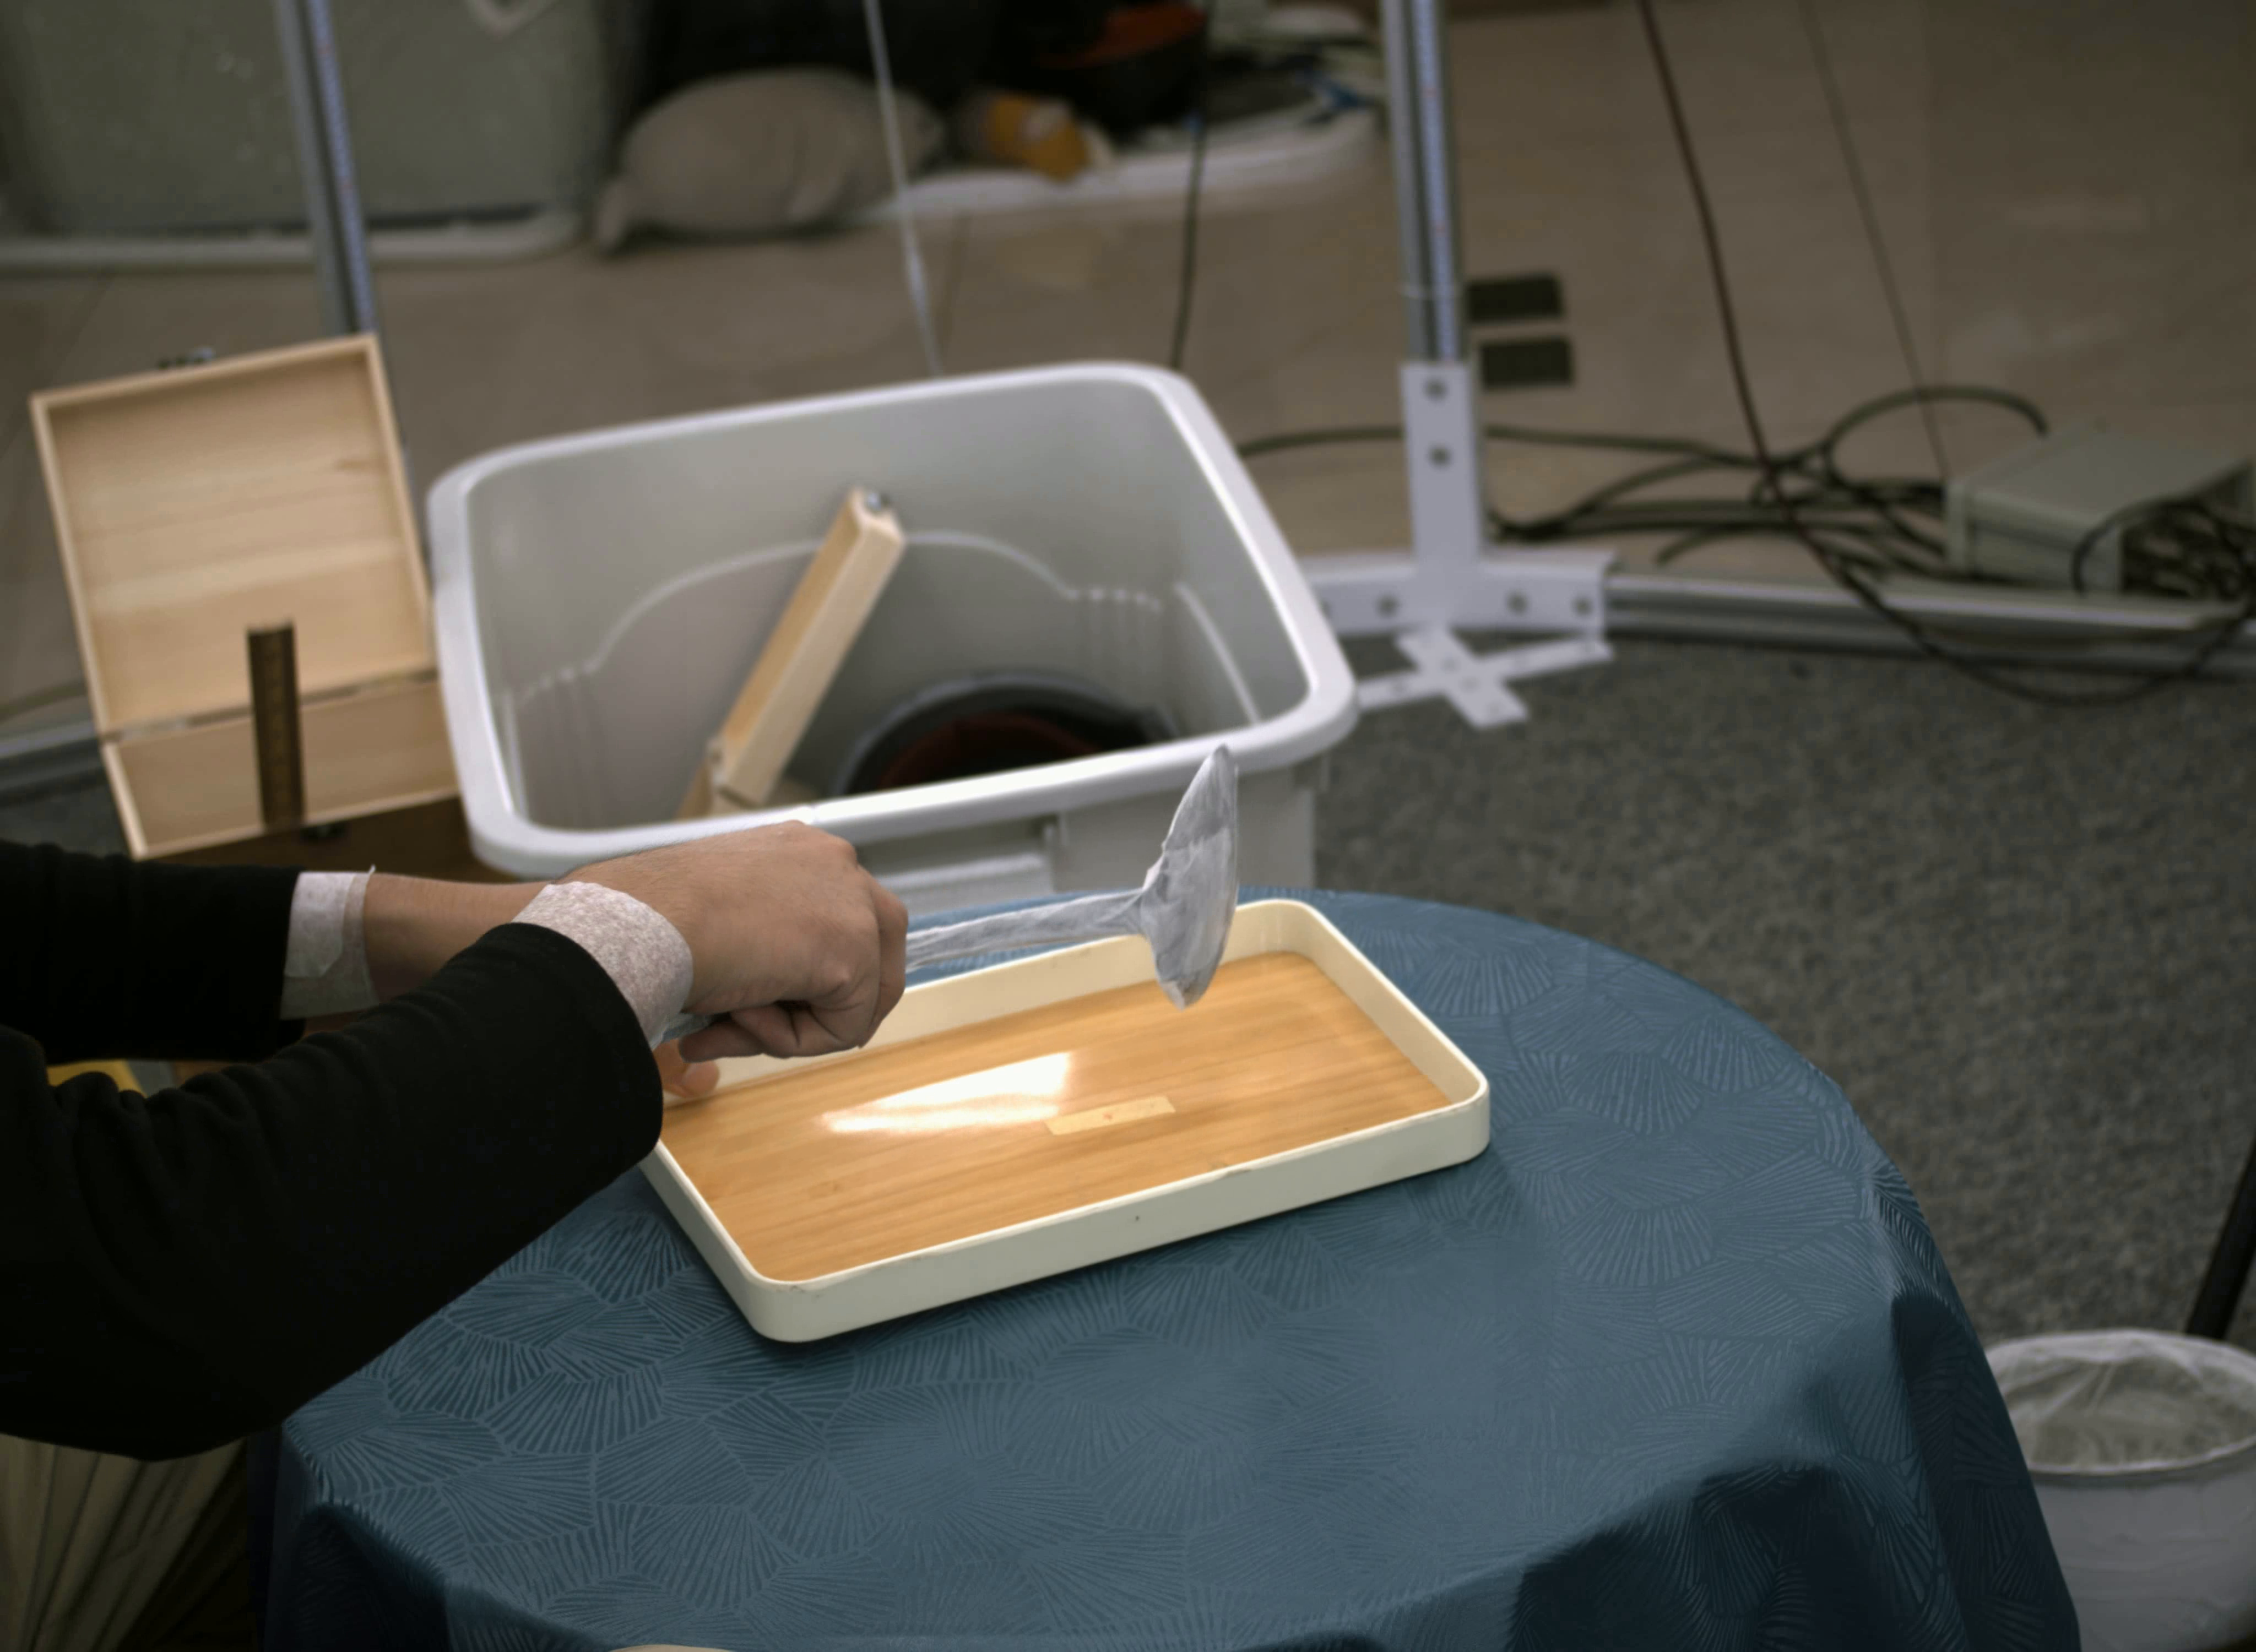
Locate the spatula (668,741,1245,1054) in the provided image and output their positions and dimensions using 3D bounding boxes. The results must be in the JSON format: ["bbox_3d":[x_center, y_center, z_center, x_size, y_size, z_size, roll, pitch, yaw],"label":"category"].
[{"bbox_3d":[-0.055,0.038,2.029,0.044,0.100,0.363,17,17,36],"label":"spatula"}]

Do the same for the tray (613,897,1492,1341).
[{"bbox_3d":[-0.030,0.109,2.169,0.299,0.028,0.189,-14,29,-18],"label":"tray"}]
